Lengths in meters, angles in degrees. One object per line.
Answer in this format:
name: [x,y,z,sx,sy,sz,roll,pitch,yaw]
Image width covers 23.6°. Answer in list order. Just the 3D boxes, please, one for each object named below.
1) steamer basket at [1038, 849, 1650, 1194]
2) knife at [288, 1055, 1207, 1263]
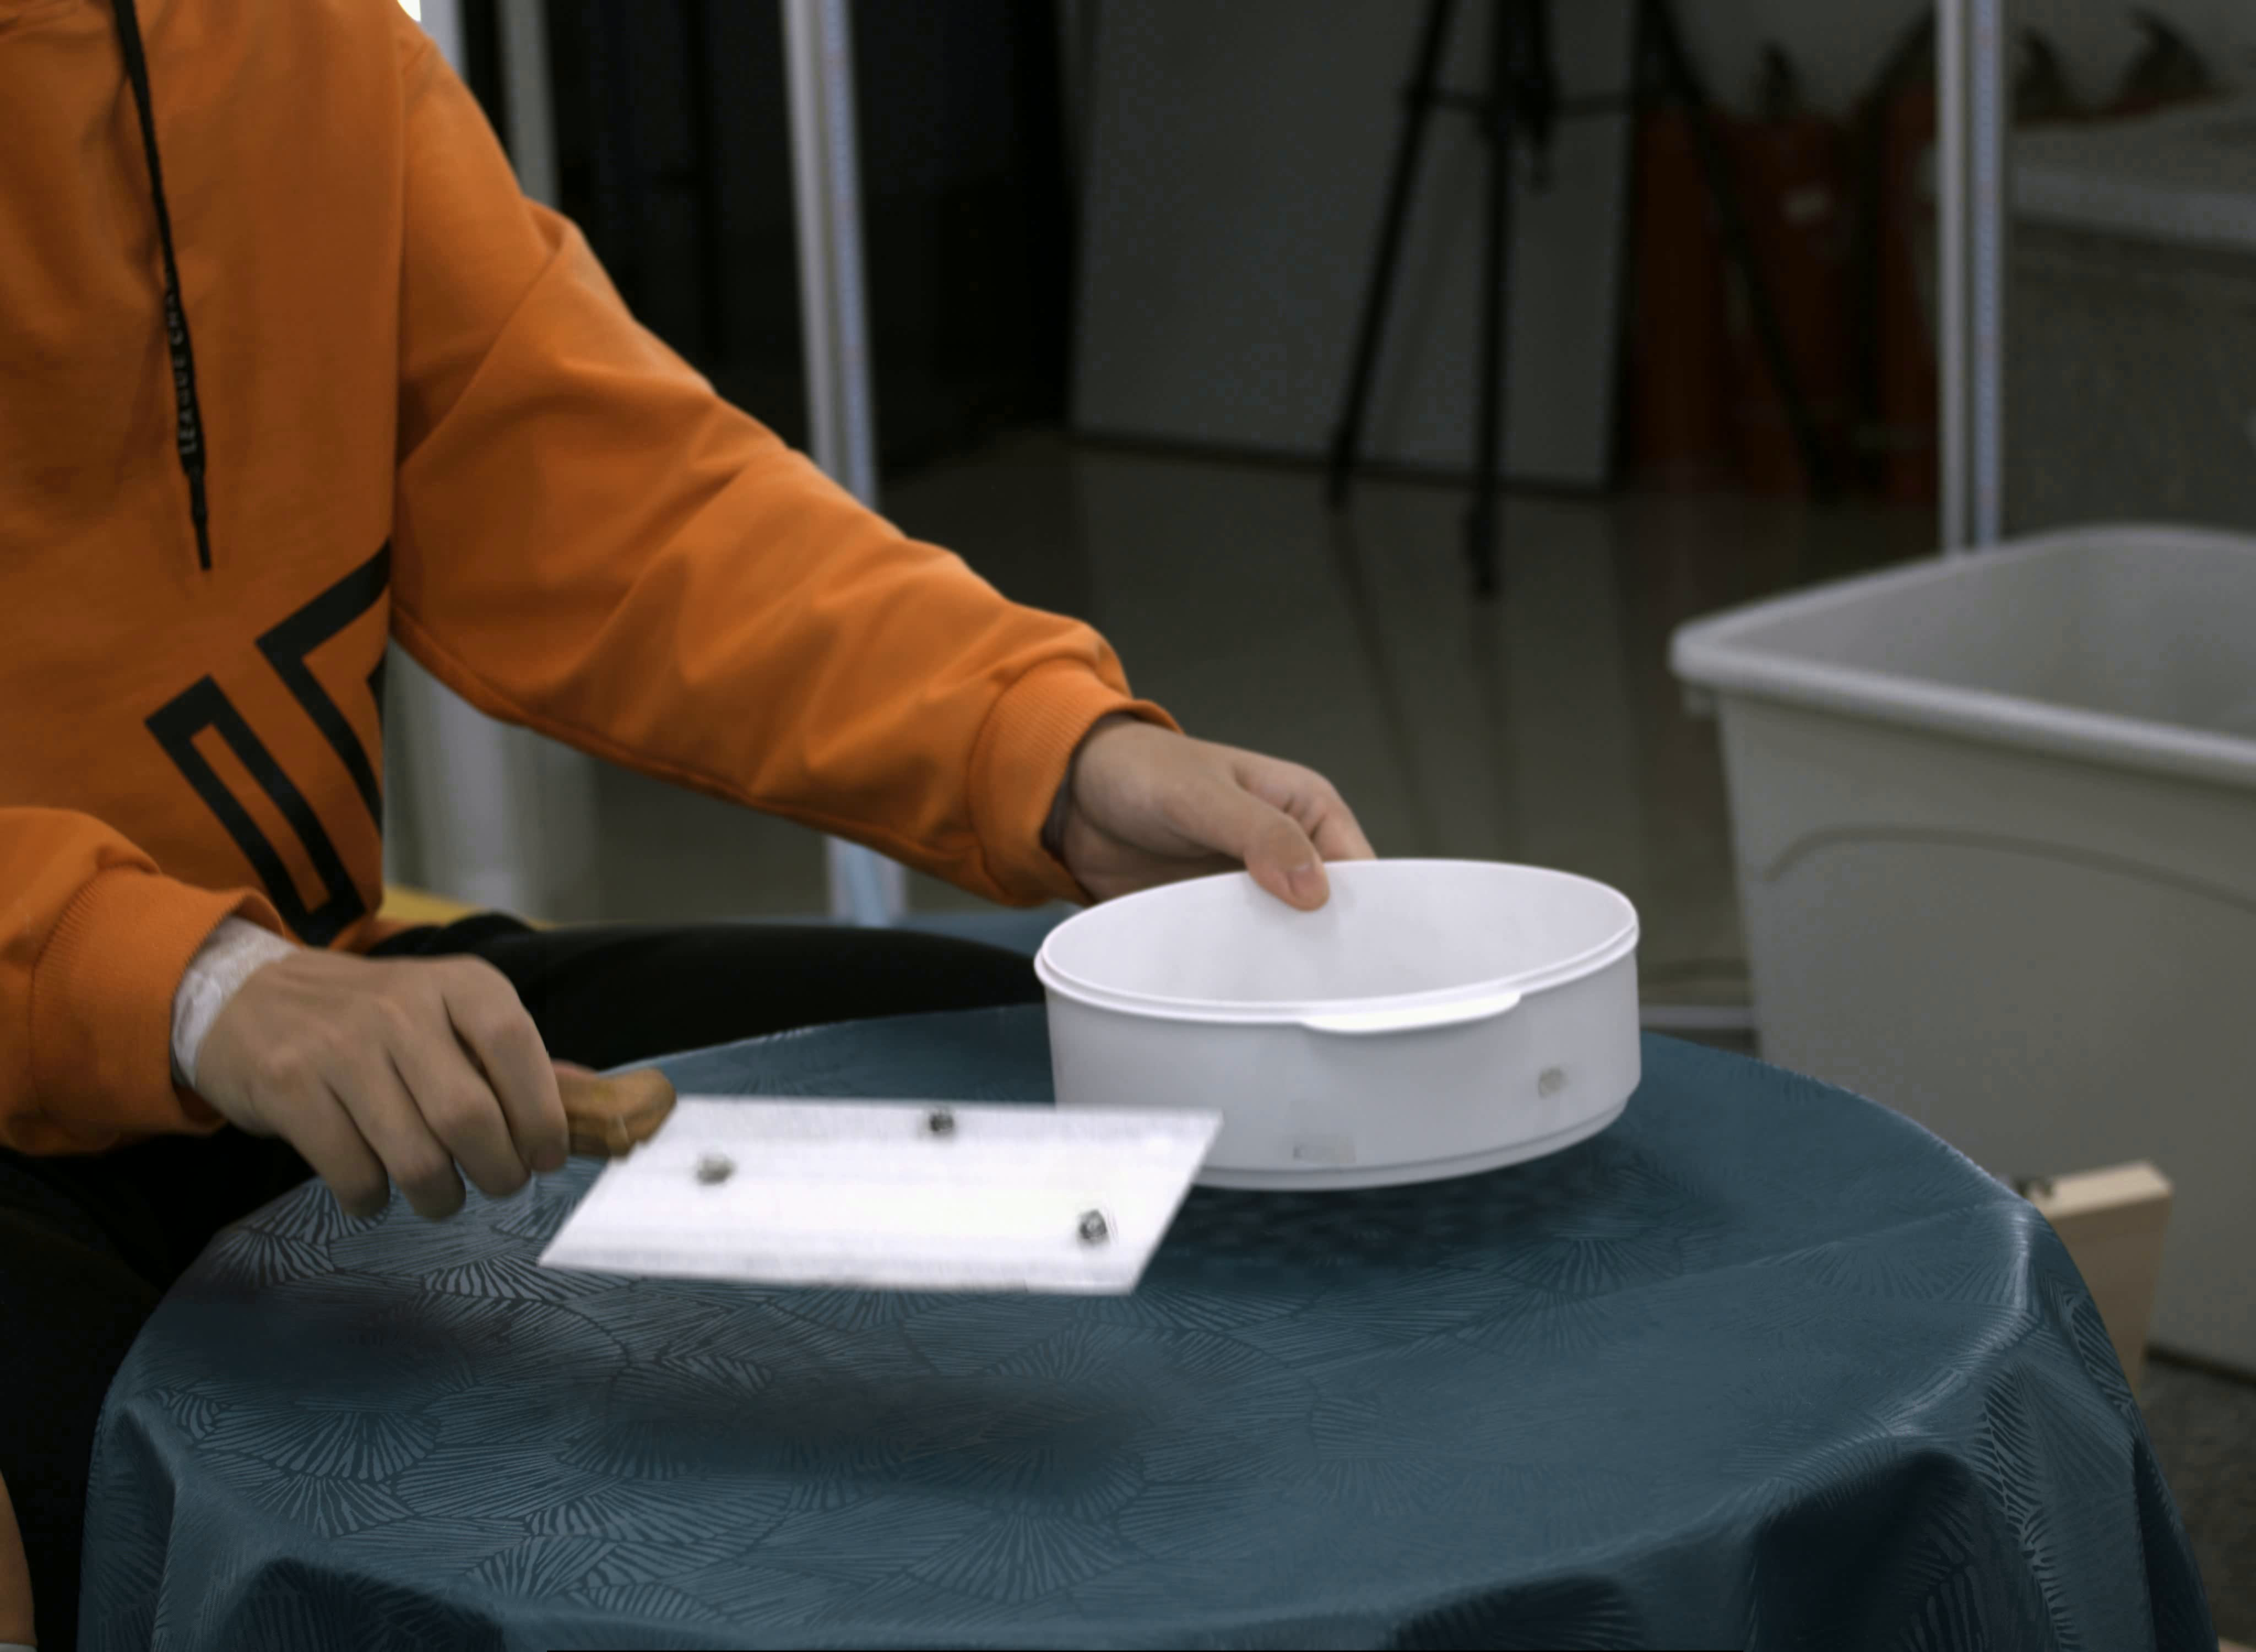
steamer basket: [0.072,0.063,1.754,0.198,0.070,0.232,-8,13,-10]
knife: [-0.125,0.100,1.598,0.306,0.021,0.092,-1,32,24]
